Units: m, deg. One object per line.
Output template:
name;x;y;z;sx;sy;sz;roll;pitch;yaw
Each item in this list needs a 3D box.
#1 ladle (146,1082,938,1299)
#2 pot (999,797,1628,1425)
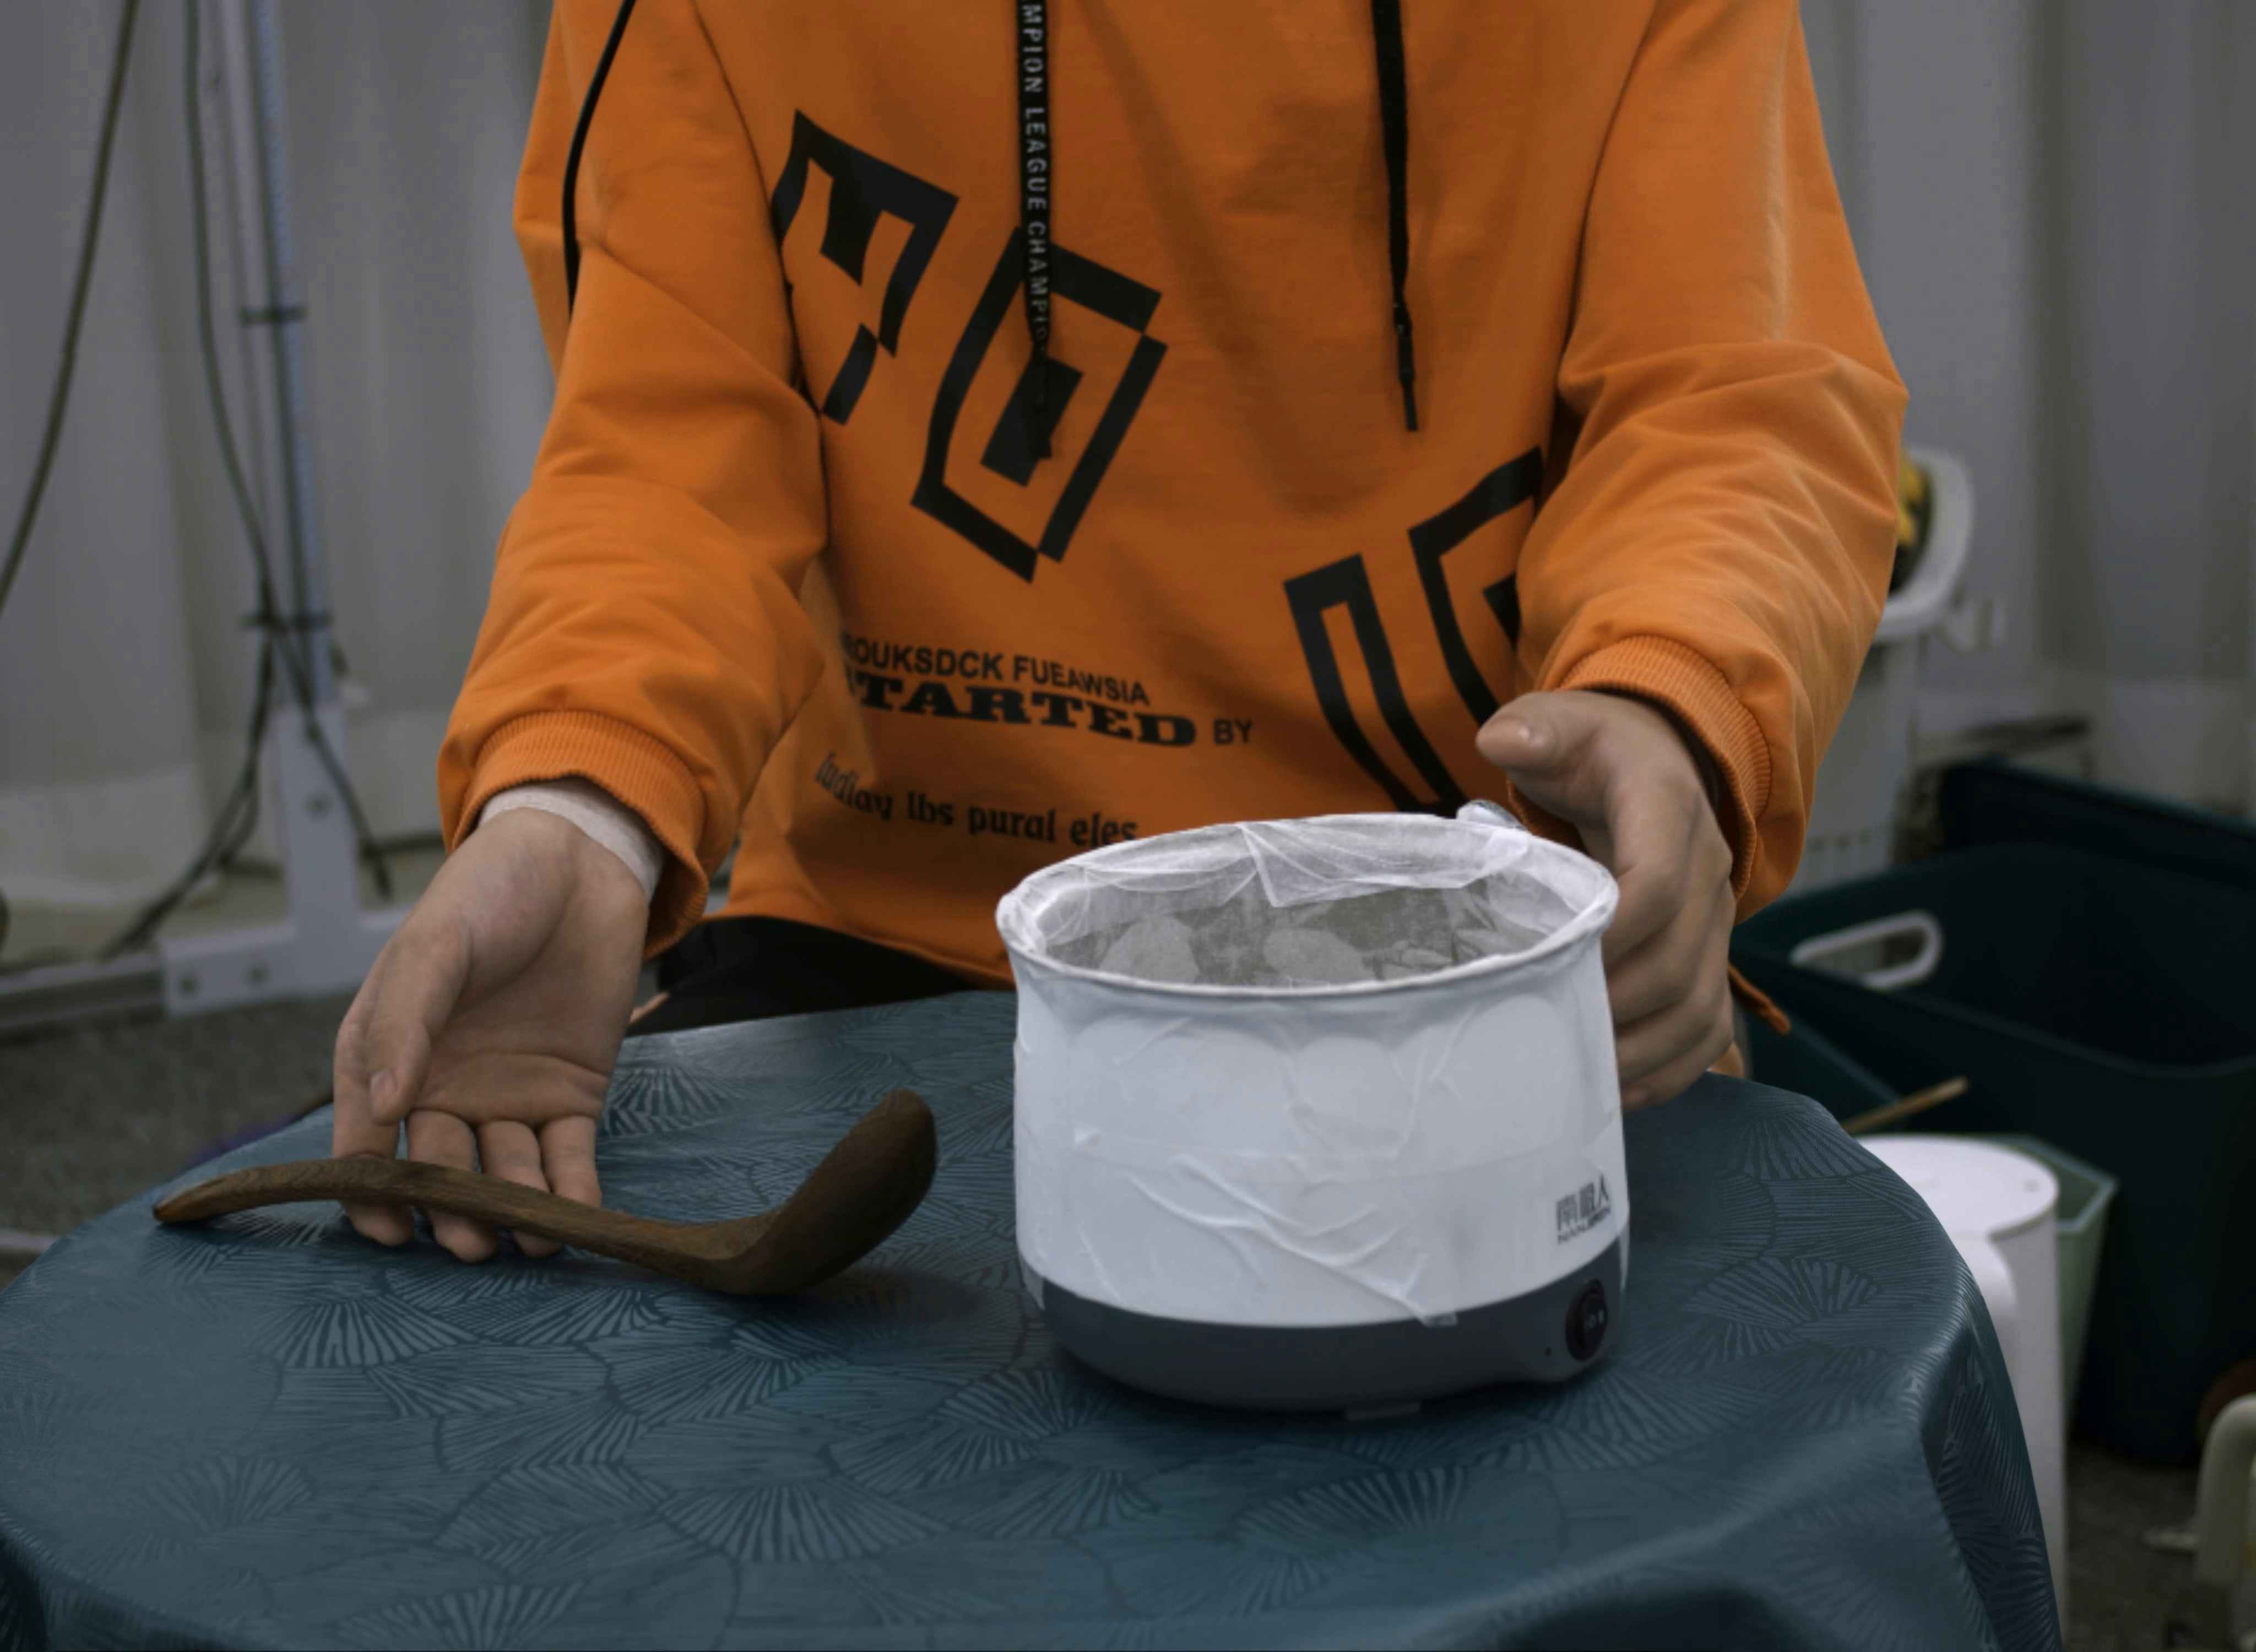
ladle;-0.184;0.100;1.671;0.274;0.071;0.076;5;14;26
pot;0.069;0.075;1.586;0.179;0.136;0.234;7;18;31
